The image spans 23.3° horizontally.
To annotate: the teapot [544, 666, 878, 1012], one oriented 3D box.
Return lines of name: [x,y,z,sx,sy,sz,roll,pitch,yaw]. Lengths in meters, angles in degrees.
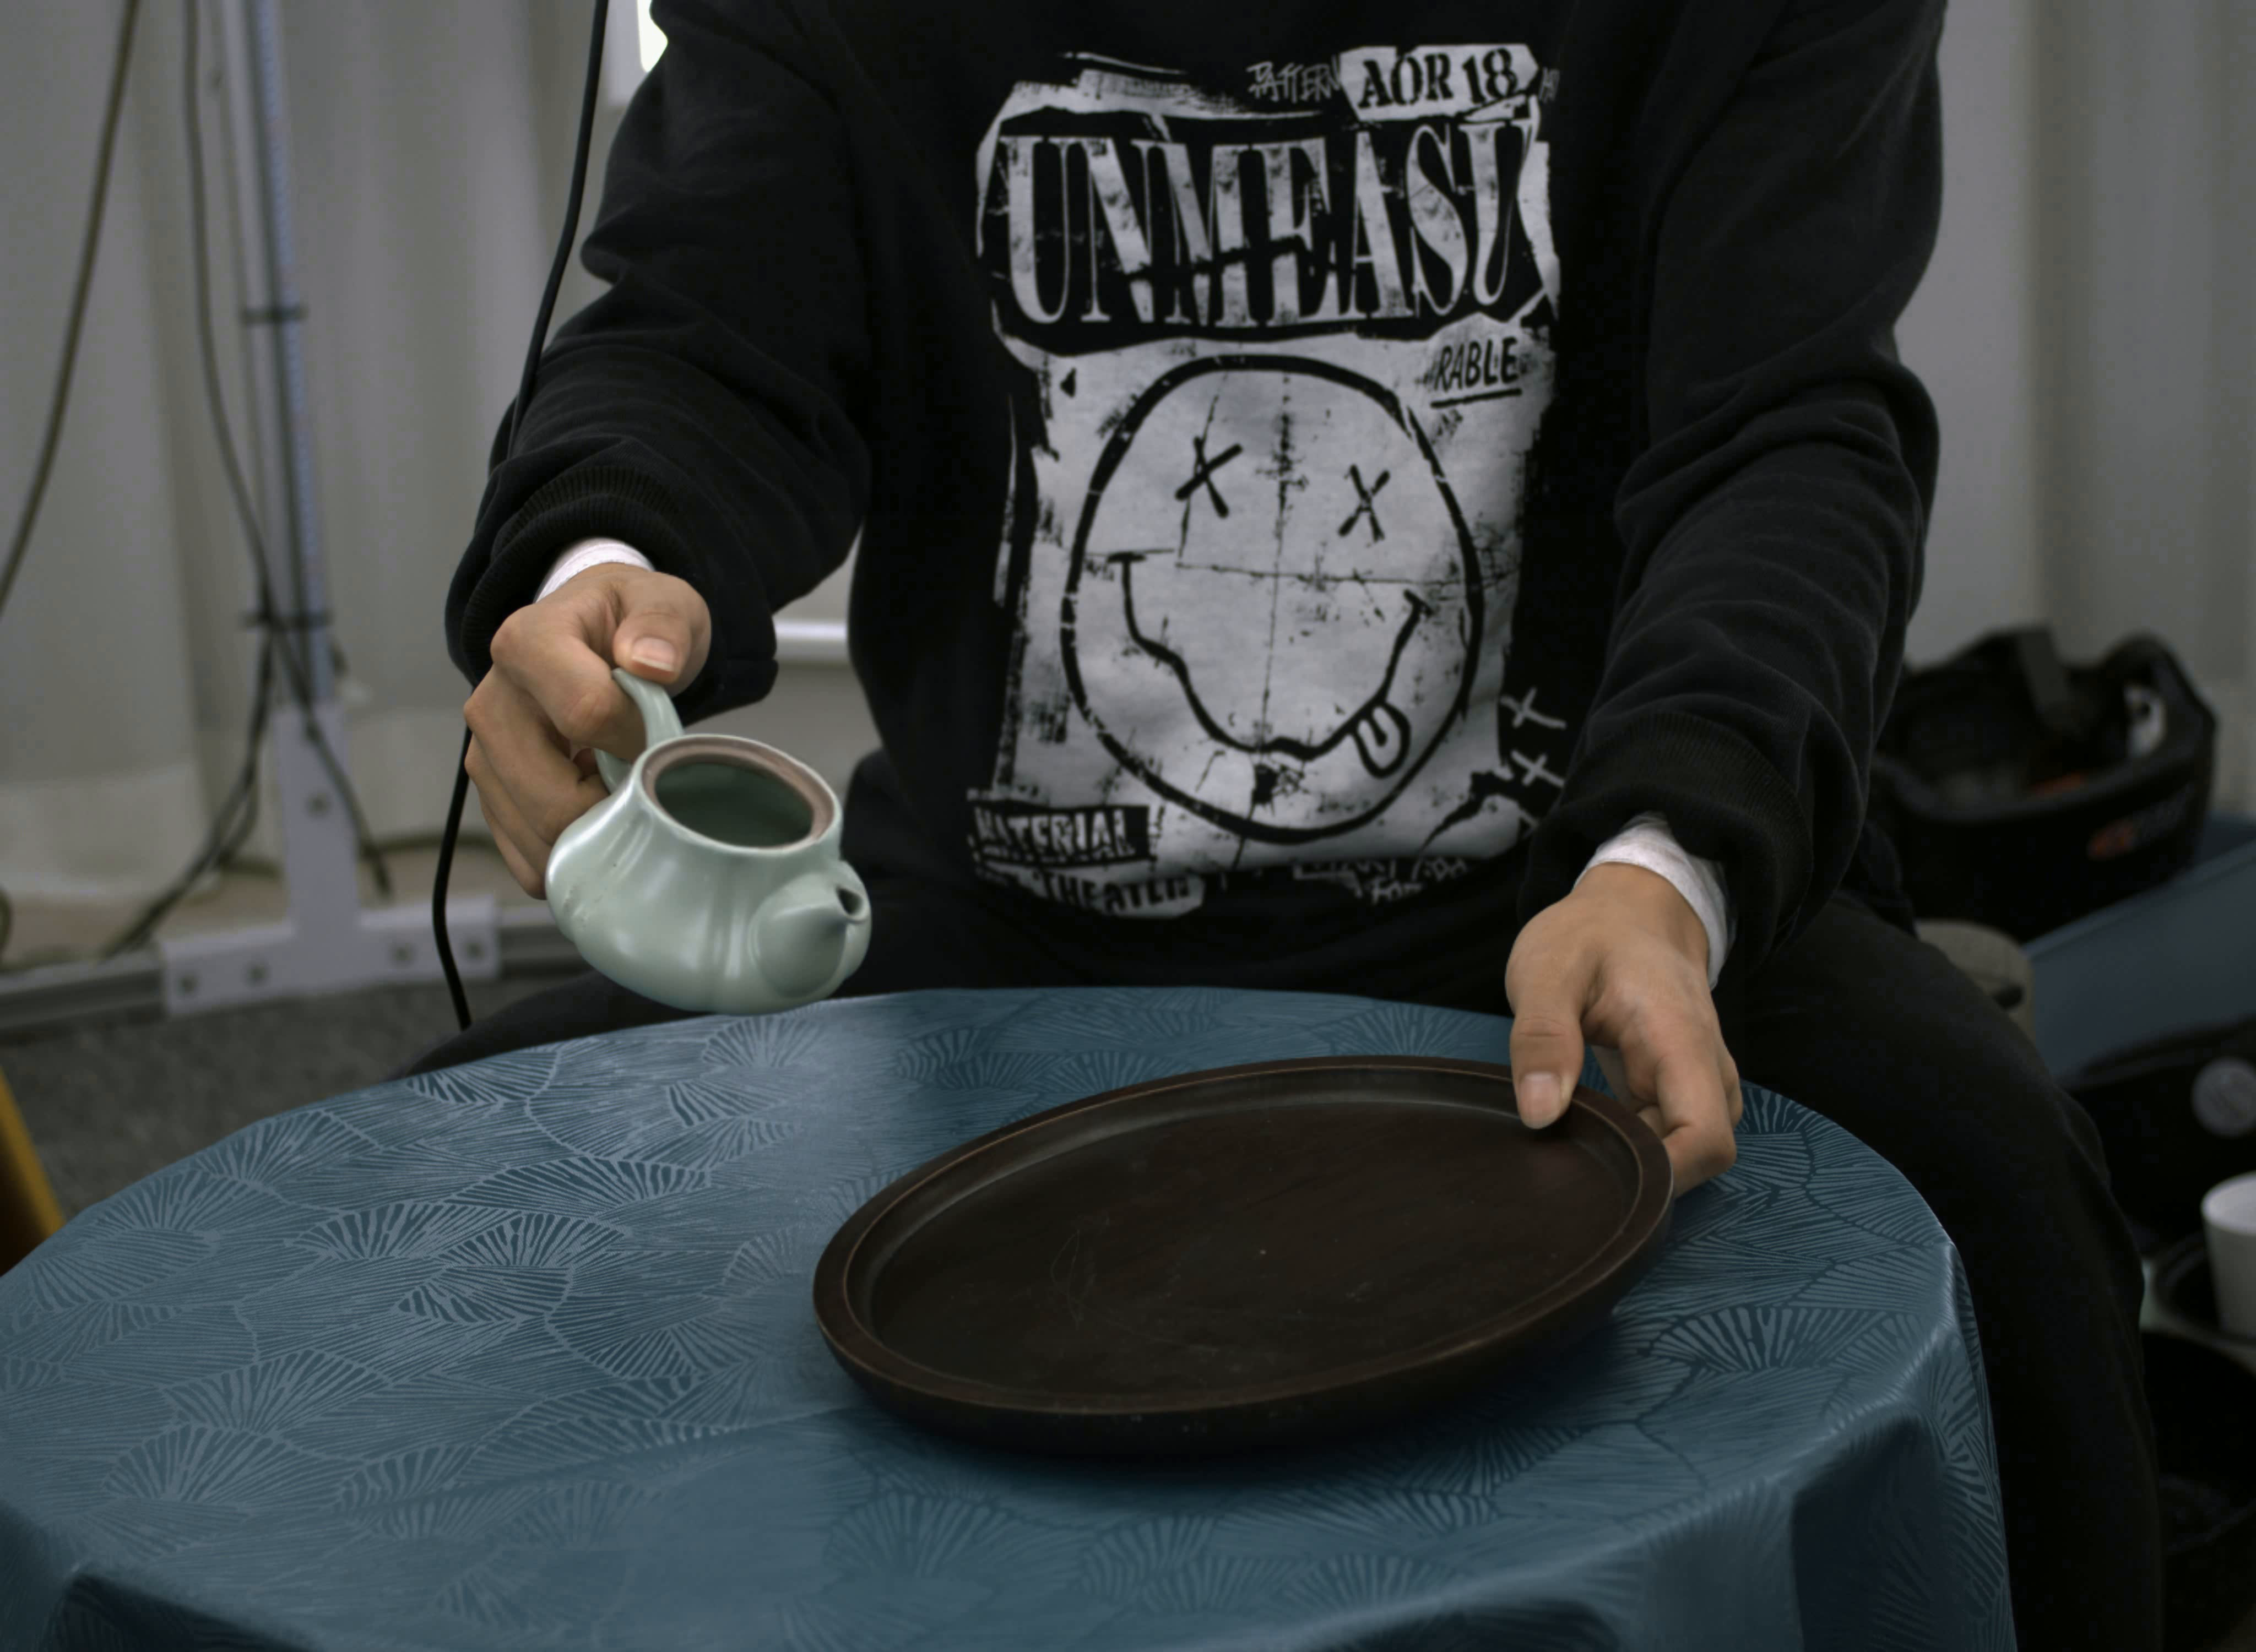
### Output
teapot: [-0.122,0.008,1.596,0.096,0.061,0.138,-13,42,-38]

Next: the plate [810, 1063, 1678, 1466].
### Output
plate: [0.034,0.123,1.578,0.254,0.029,0.257,-9,19,3]
